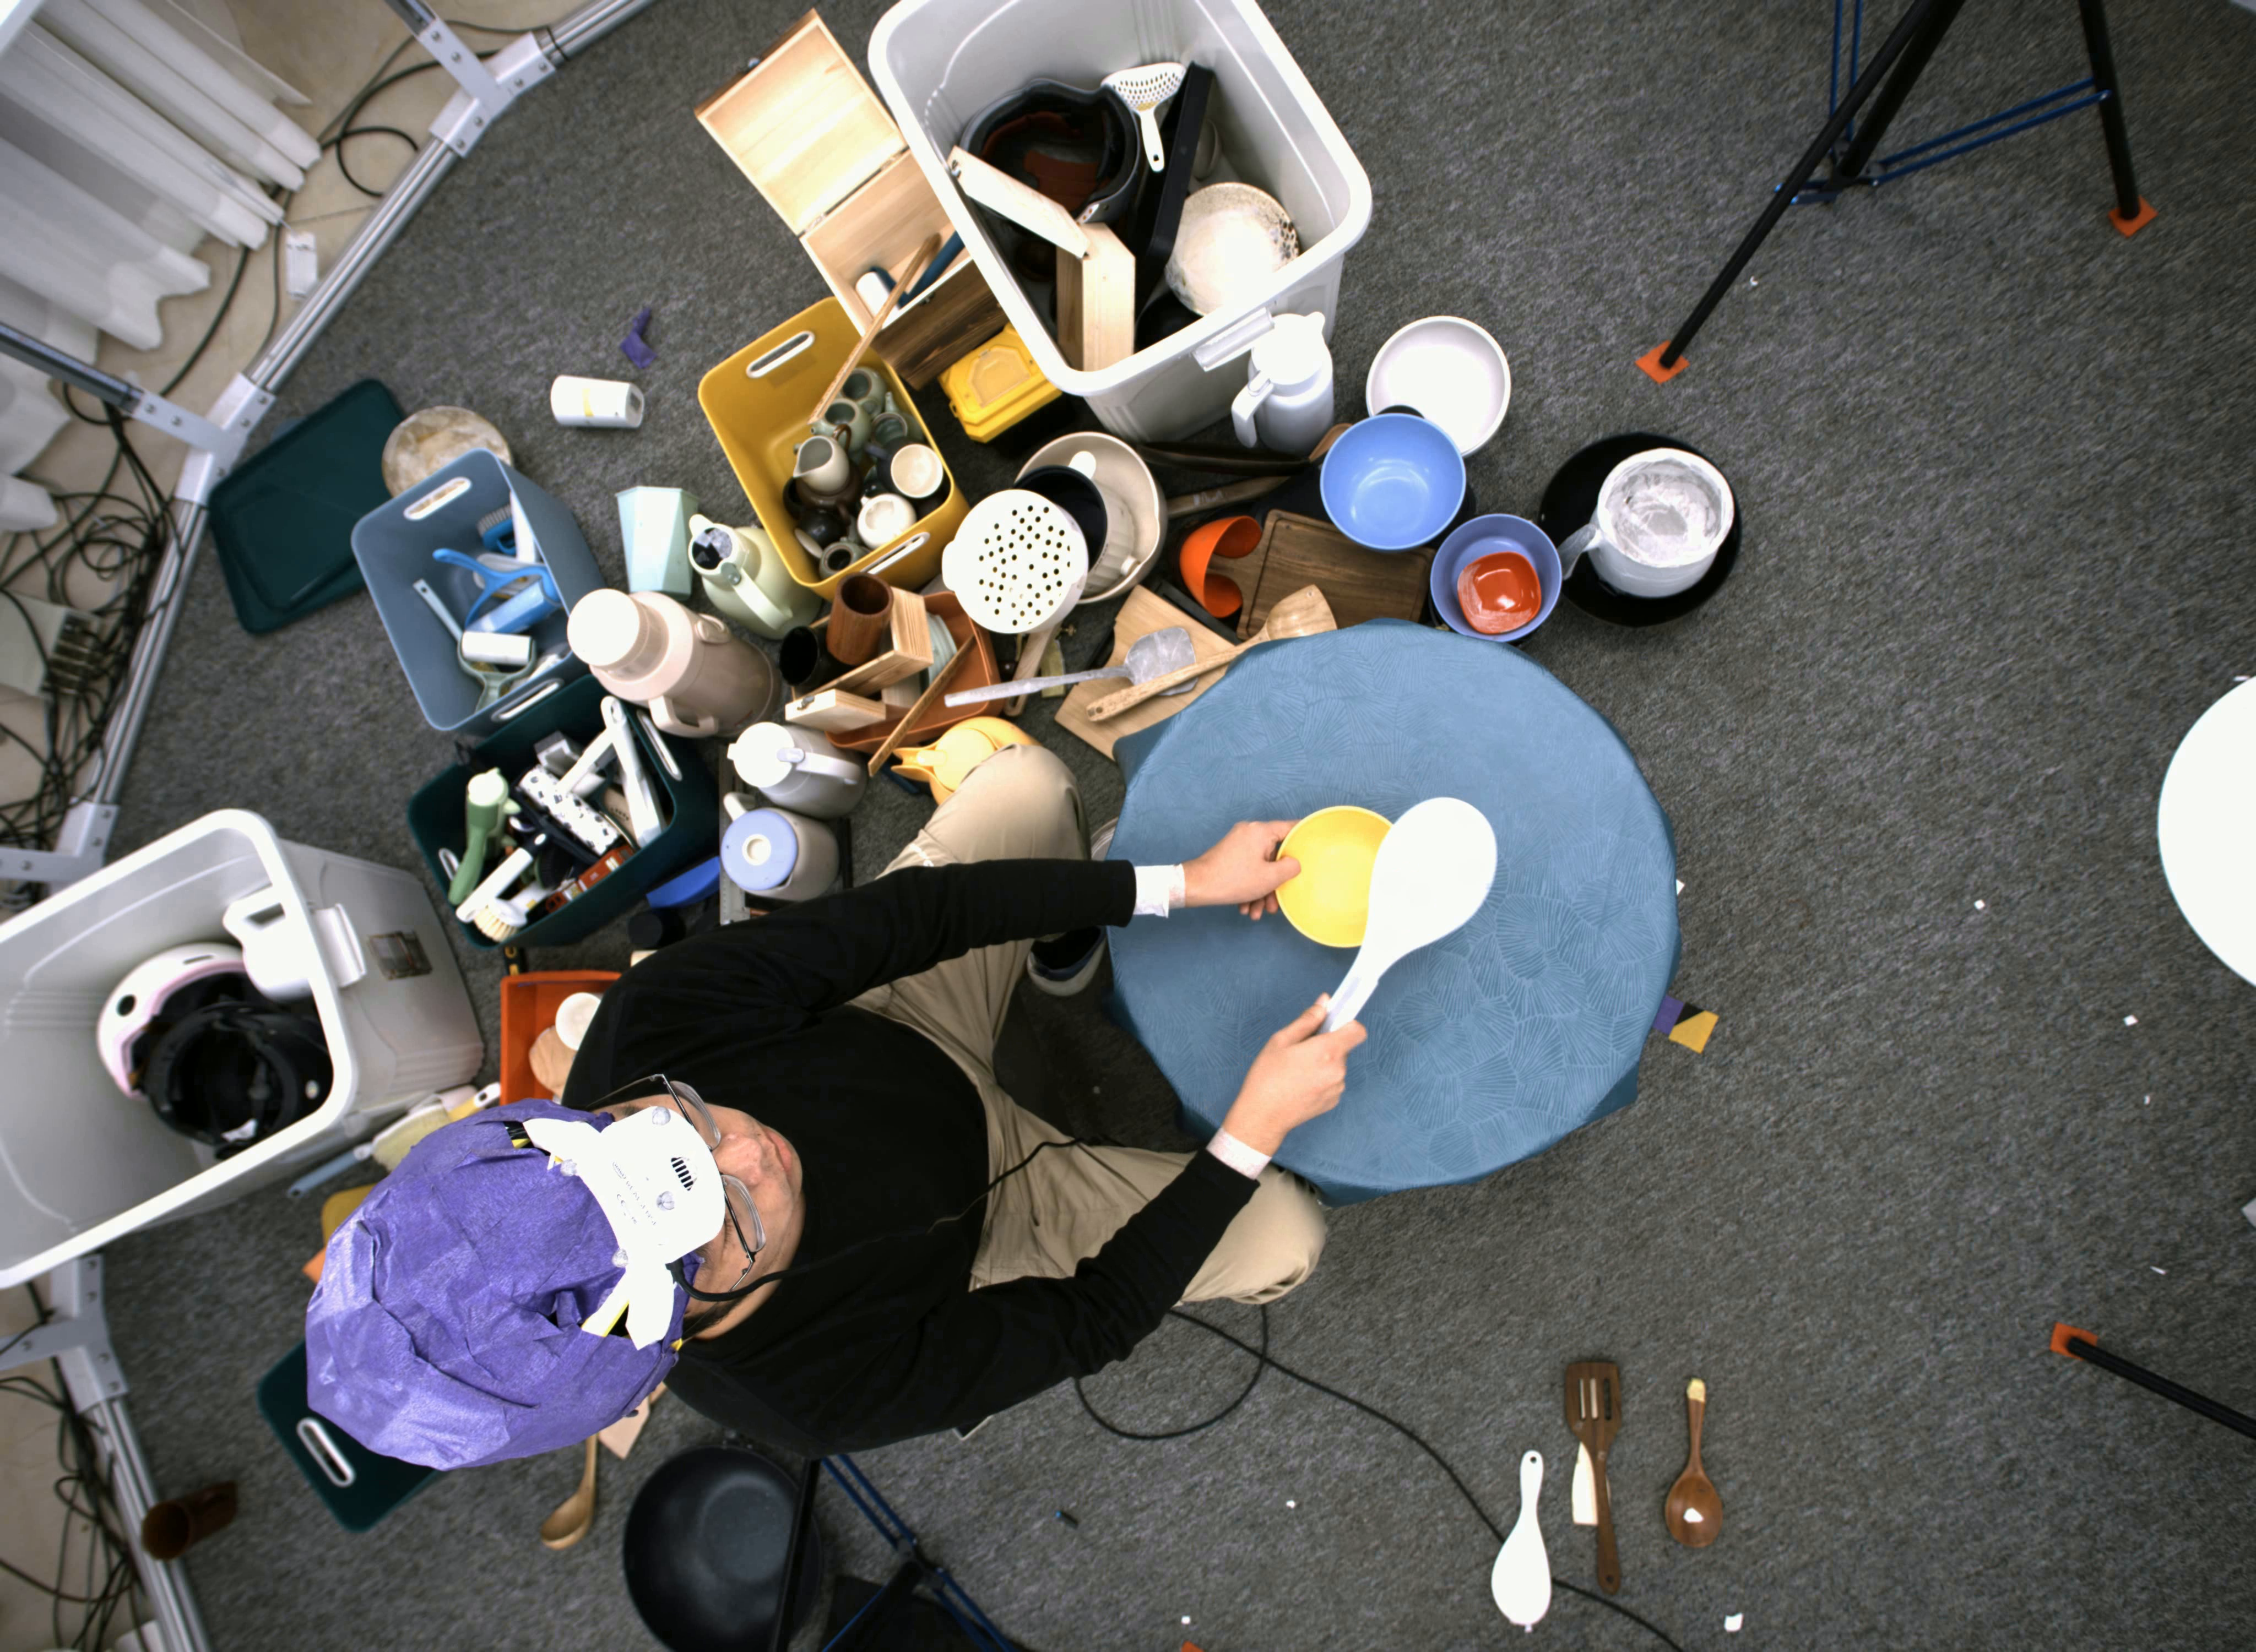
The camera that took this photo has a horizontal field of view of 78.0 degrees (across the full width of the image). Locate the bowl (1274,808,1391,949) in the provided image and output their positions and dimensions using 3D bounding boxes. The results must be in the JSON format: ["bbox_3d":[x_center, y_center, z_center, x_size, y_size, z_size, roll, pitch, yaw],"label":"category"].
[{"bbox_3d":[0.225,0.056,1.441,0.146,0.060,0.144,-1,84,10],"label":"bowl"}]

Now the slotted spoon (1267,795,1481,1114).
[{"bbox_3d":[0.230,0.128,1.327,0.353,0.046,0.134,-57,34,10],"label":"slotted spoon"}]
